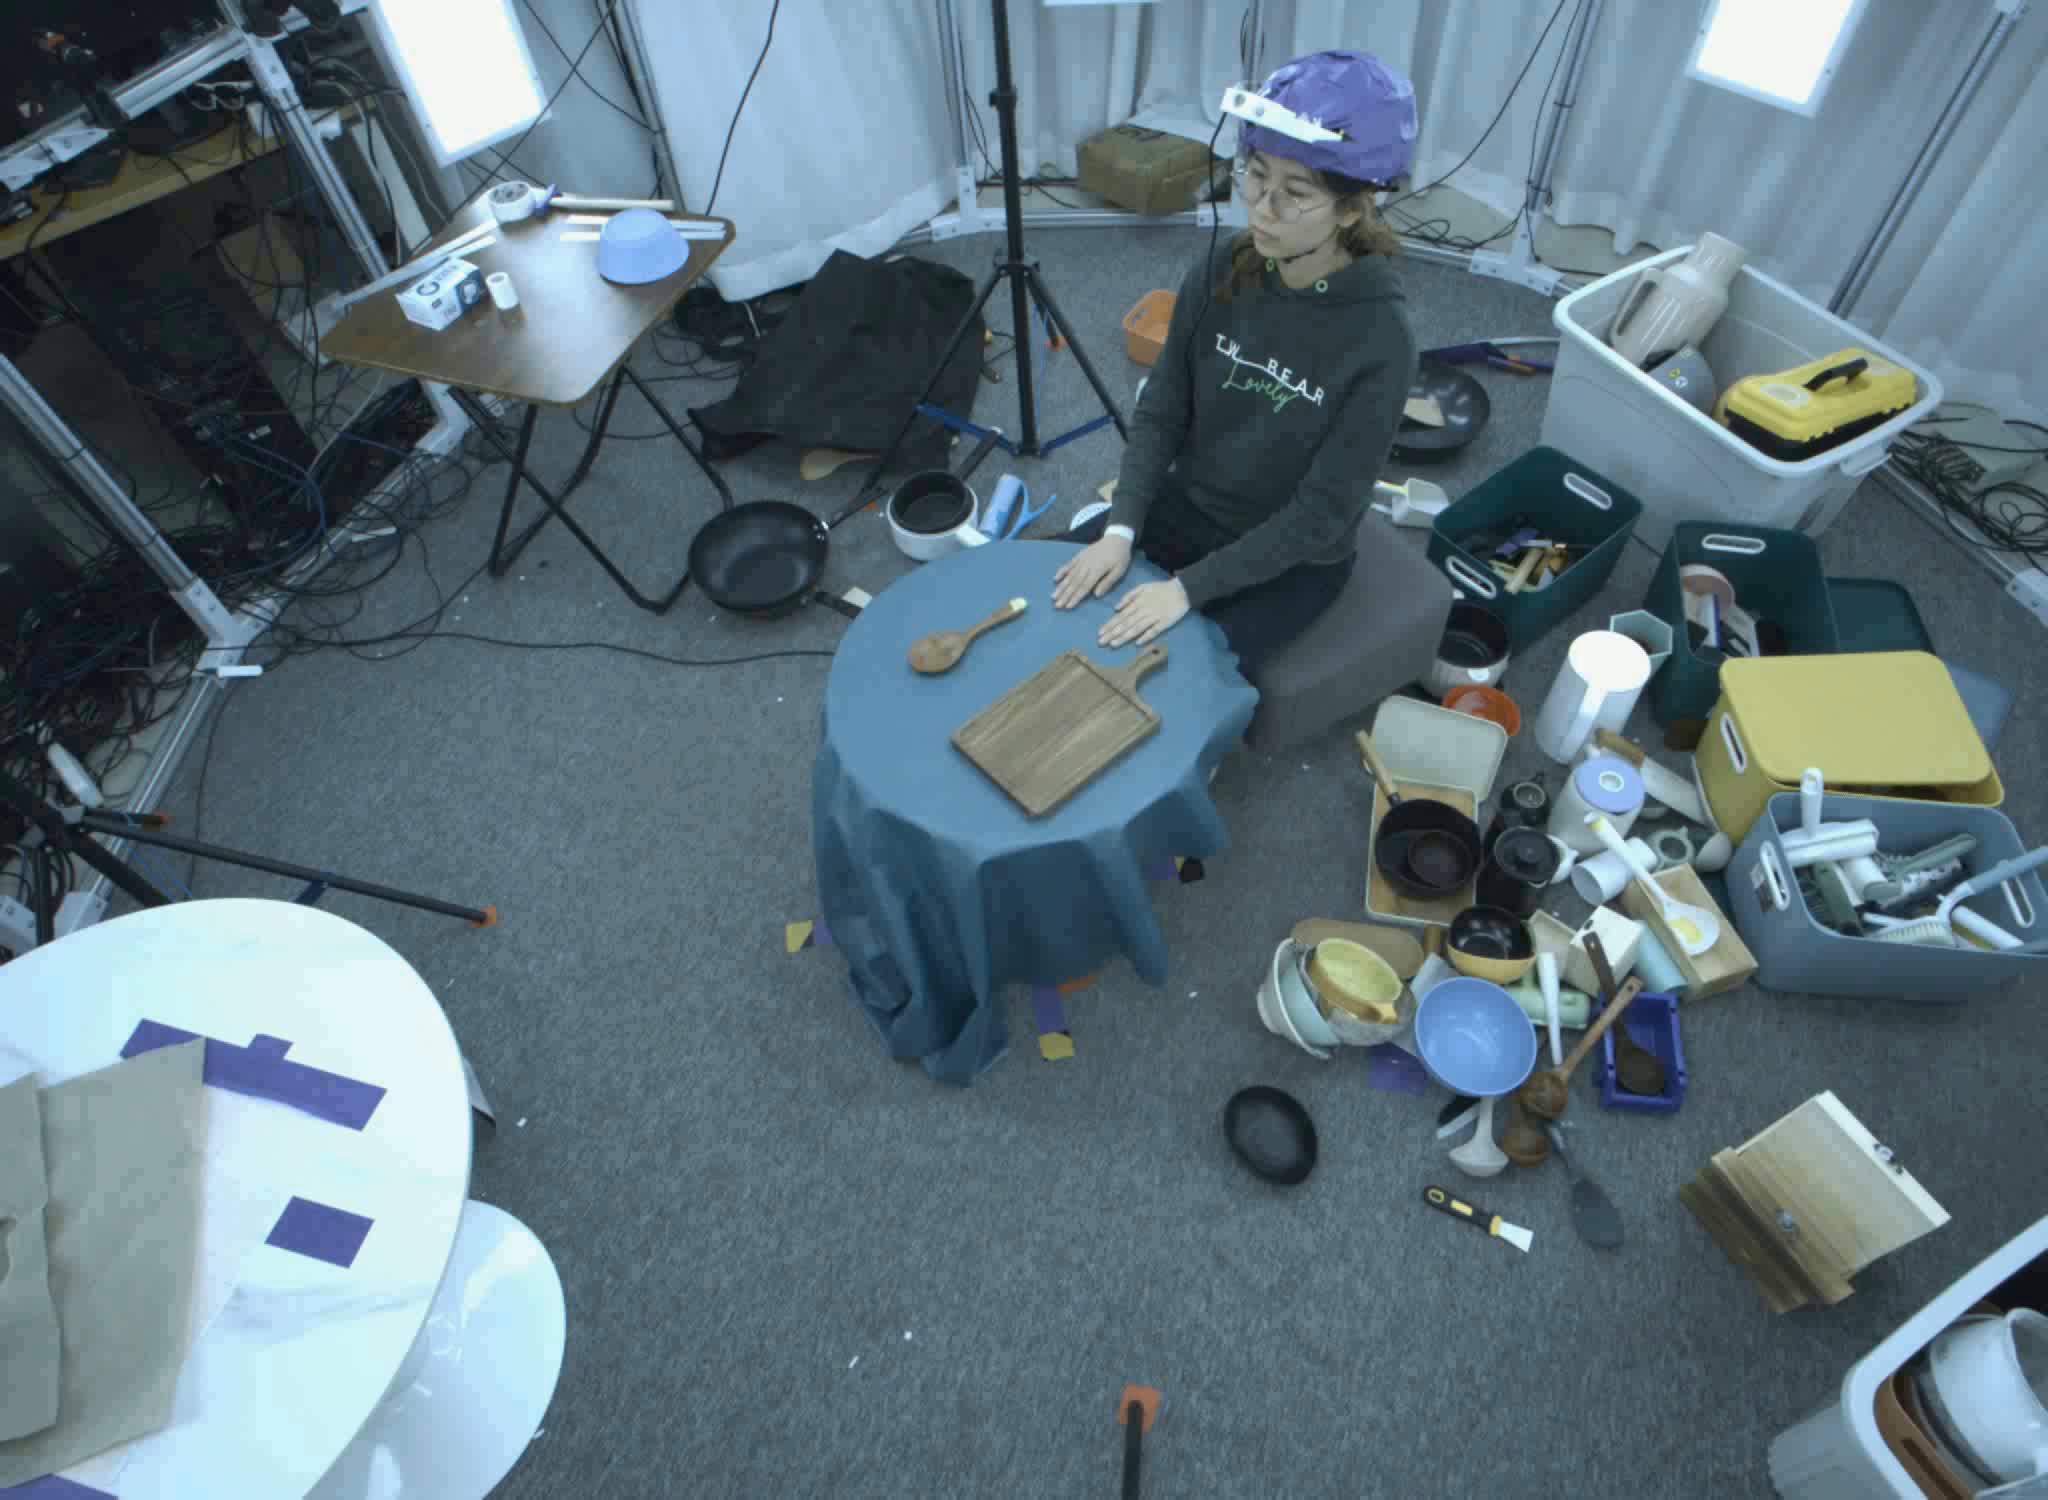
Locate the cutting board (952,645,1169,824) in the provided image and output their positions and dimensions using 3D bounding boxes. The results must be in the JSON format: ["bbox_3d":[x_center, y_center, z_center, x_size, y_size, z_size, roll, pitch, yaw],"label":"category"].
[{"bbox_3d":[0.086,-0.051,1.821,0.355,0.023,0.197,-37,61,-22],"label":"cutting board"}]

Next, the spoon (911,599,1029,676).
[{"bbox_3d":[-0.081,-0.177,1.914,0.217,0.017,0.074,-33,58,-19],"label":"spoon"}]
